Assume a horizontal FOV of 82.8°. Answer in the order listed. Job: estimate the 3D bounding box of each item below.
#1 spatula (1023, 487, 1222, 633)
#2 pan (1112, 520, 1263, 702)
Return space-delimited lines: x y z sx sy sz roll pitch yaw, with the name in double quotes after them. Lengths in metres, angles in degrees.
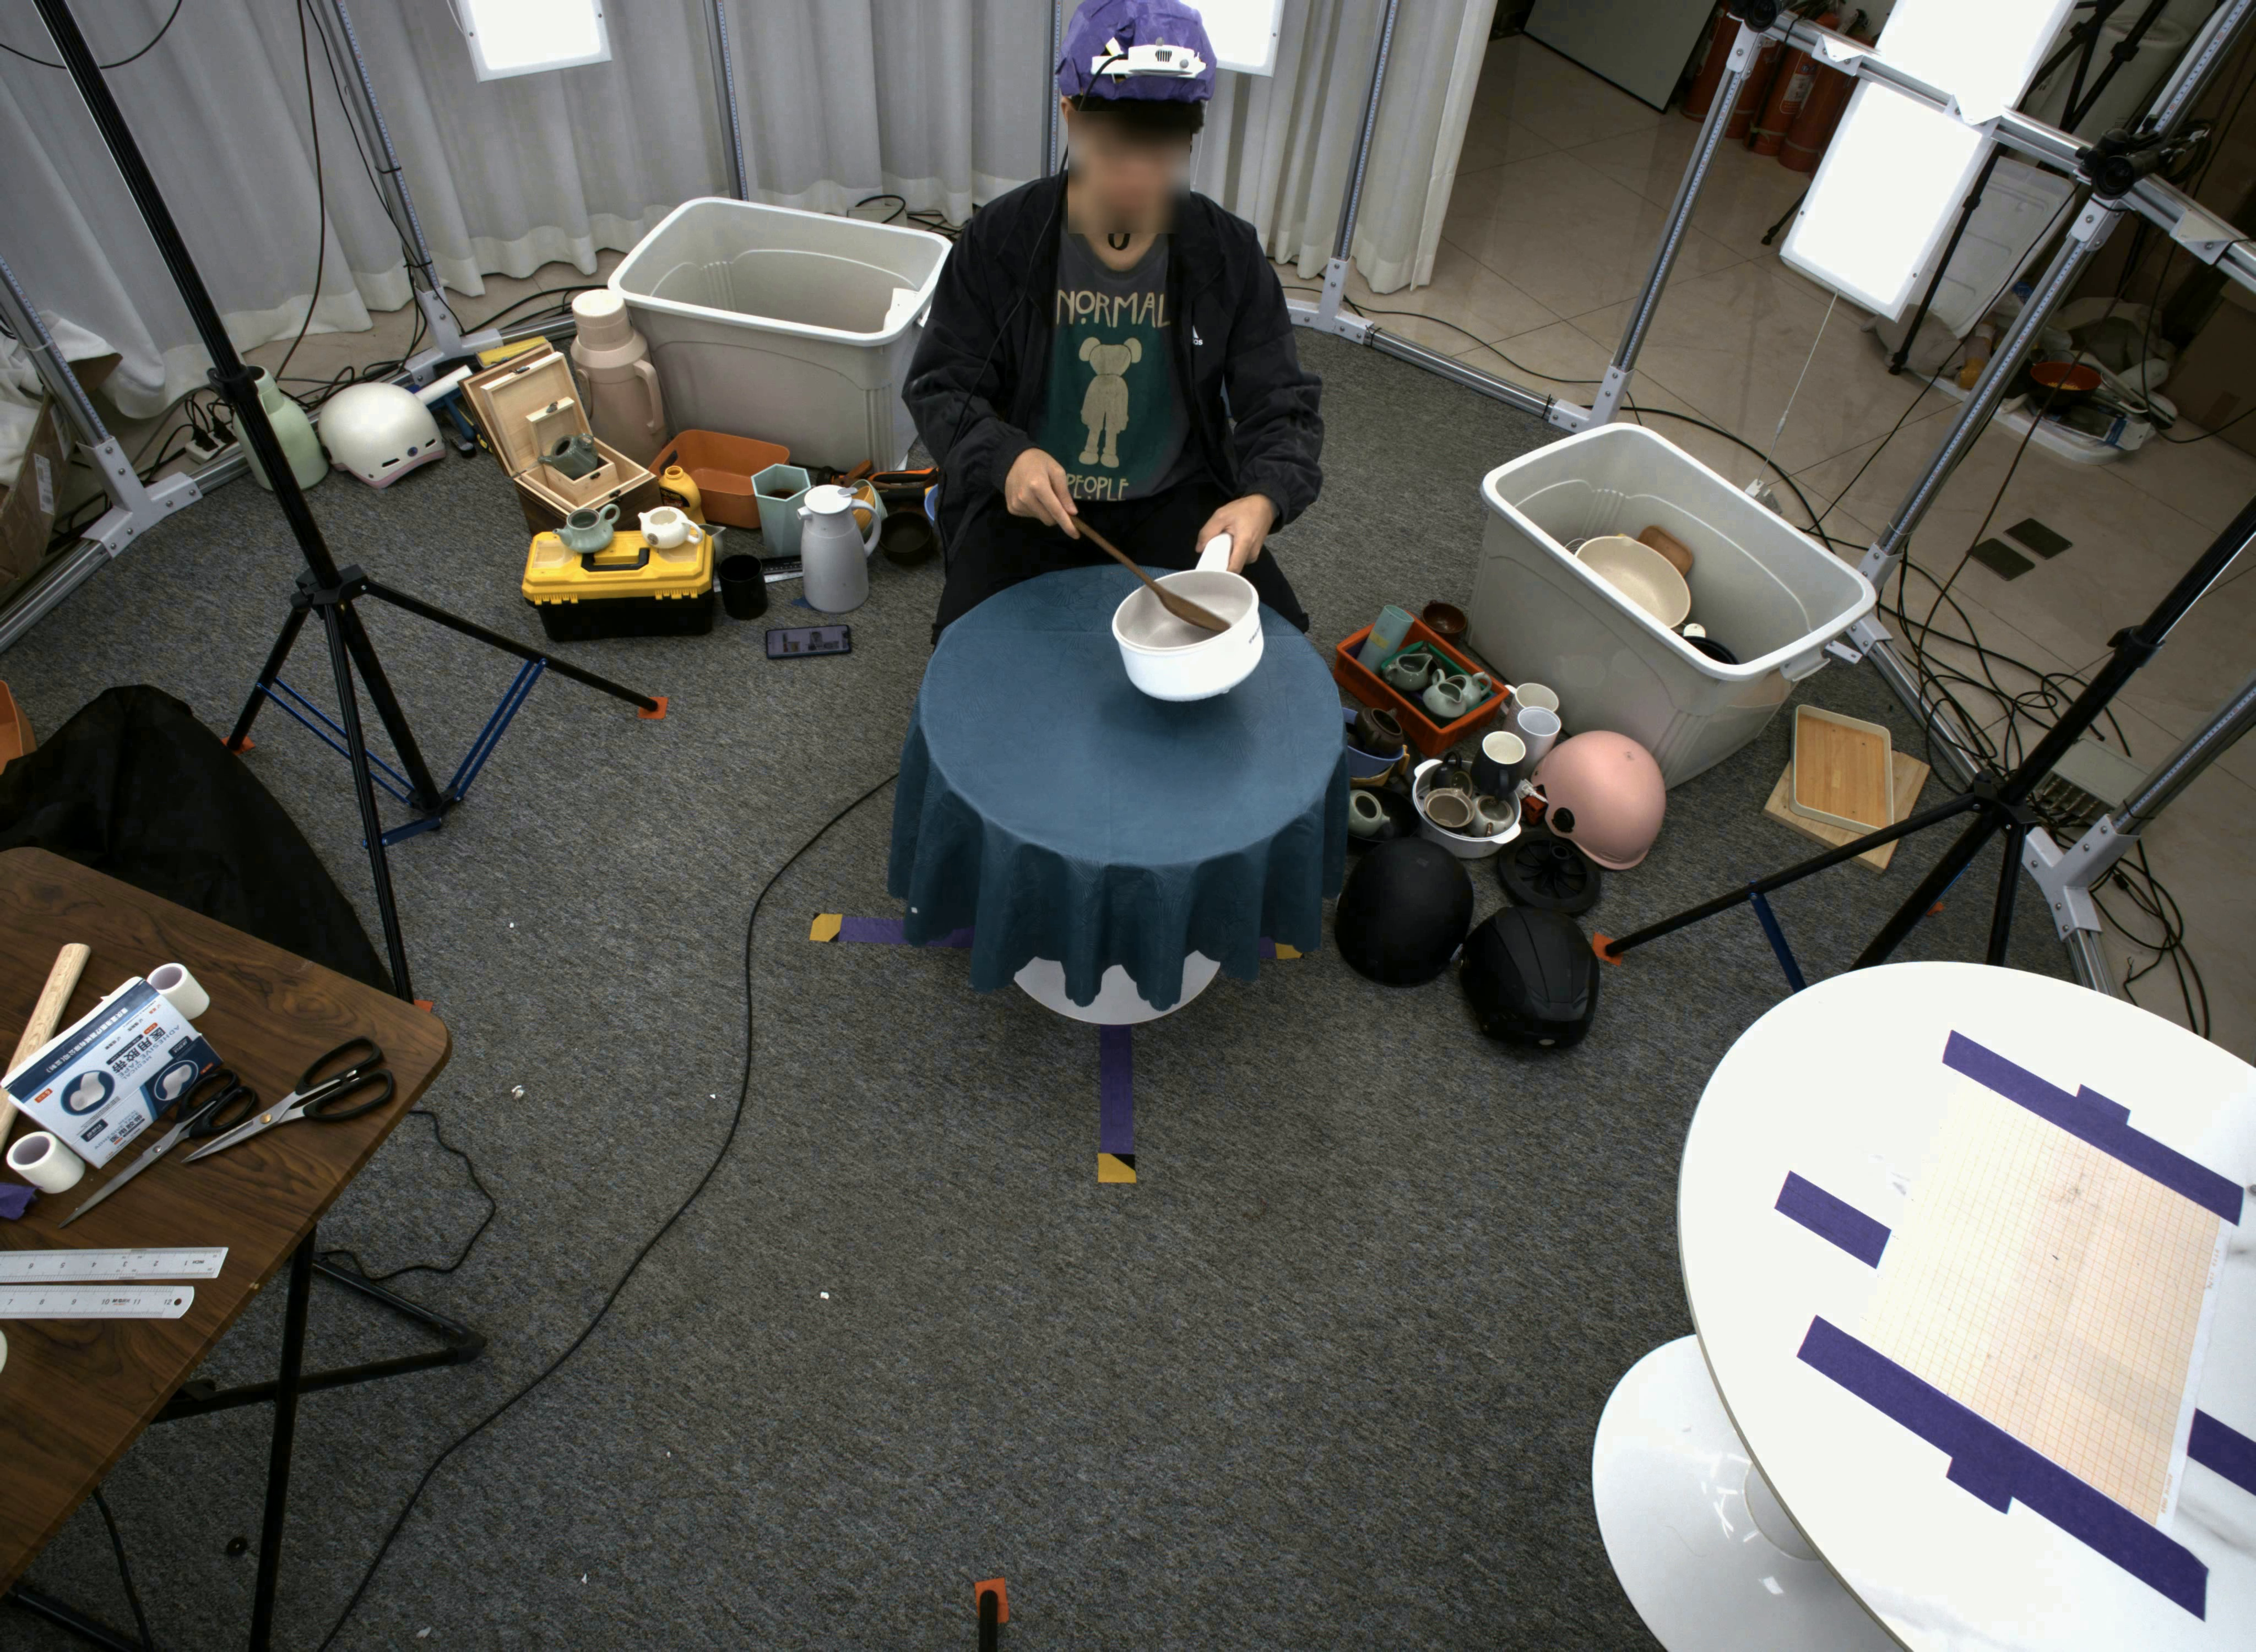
-0.015 -0.379 1.819 0.391 0.015 0.096 41 24 23 "spatula"
0.110 -0.306 1.821 0.202 0.100 0.362 0 39 23 "pan"
